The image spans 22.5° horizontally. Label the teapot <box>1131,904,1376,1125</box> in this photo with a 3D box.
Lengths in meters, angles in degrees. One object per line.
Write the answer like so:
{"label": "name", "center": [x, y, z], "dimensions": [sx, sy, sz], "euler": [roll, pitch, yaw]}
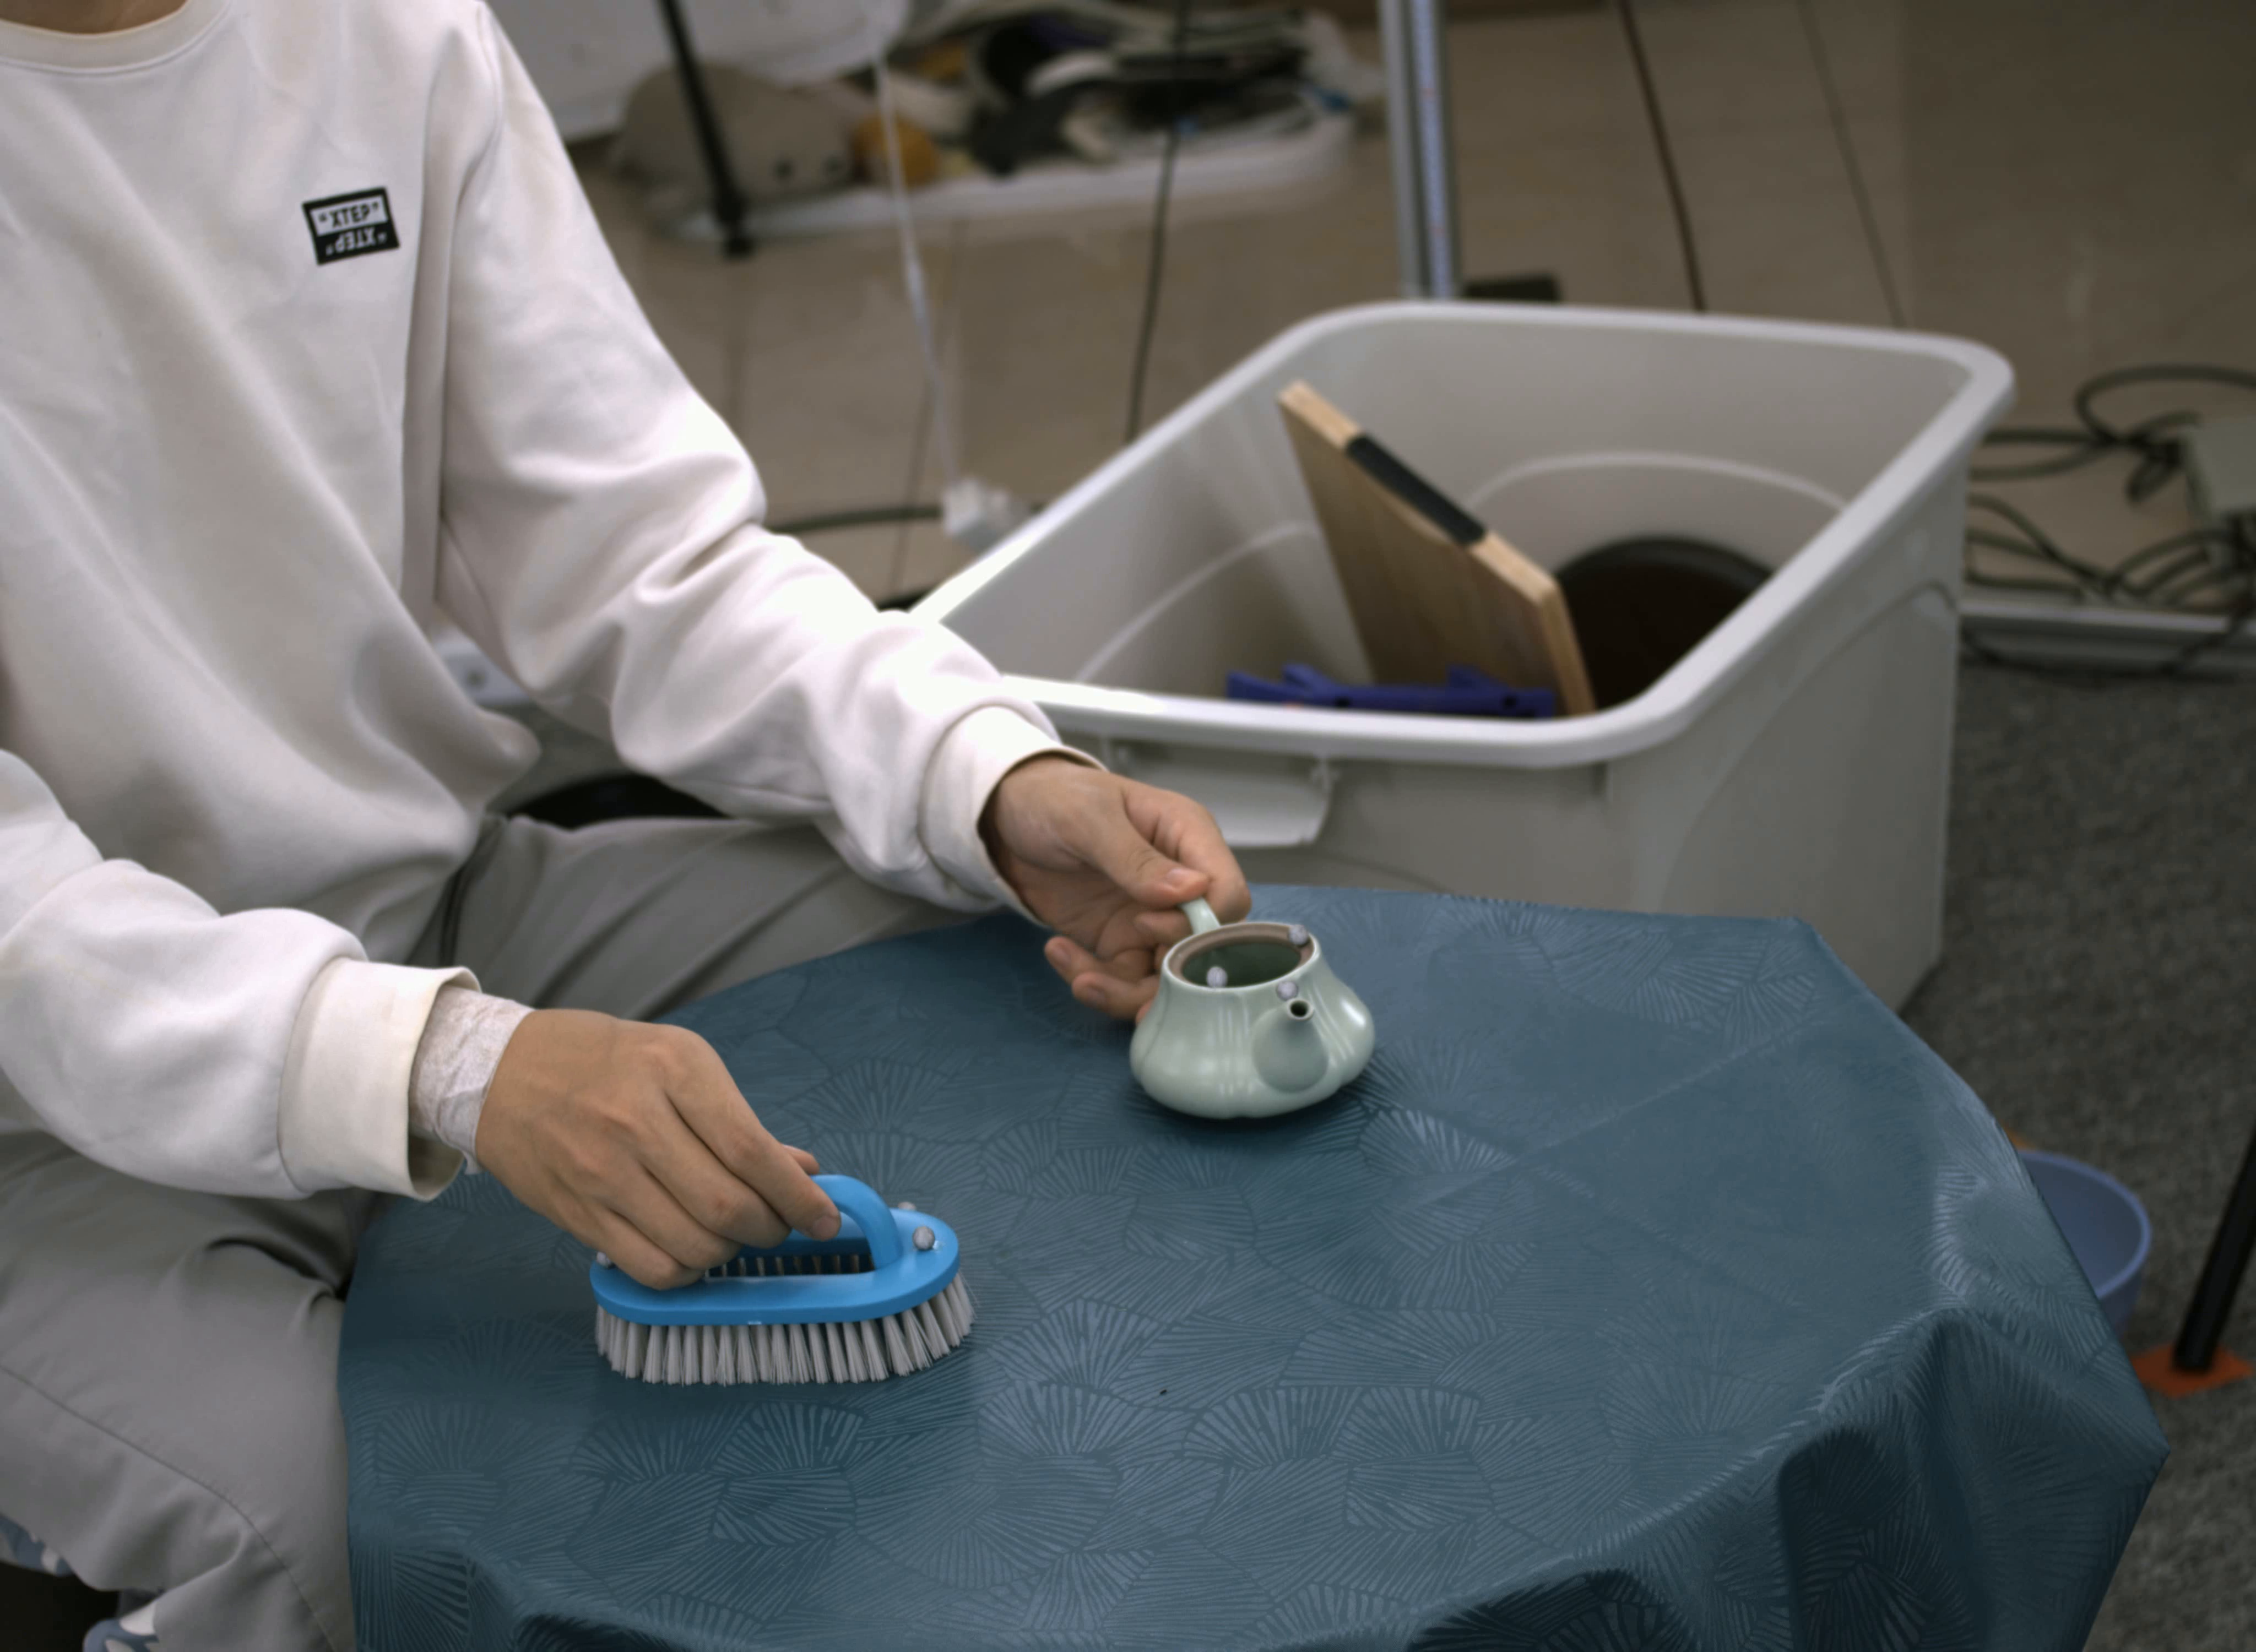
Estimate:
{"label": "teapot", "center": [0.045, 0.074, 2.203], "dimensions": [0.096, 0.062, 0.135], "euler": [-20, 26, -17]}

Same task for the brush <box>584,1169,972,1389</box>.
{"label": "brush", "center": [-0.131, 0.156, 2.063], "dimensions": [0.141, 0.065, 0.083], "euler": [-3, 31, 13]}
